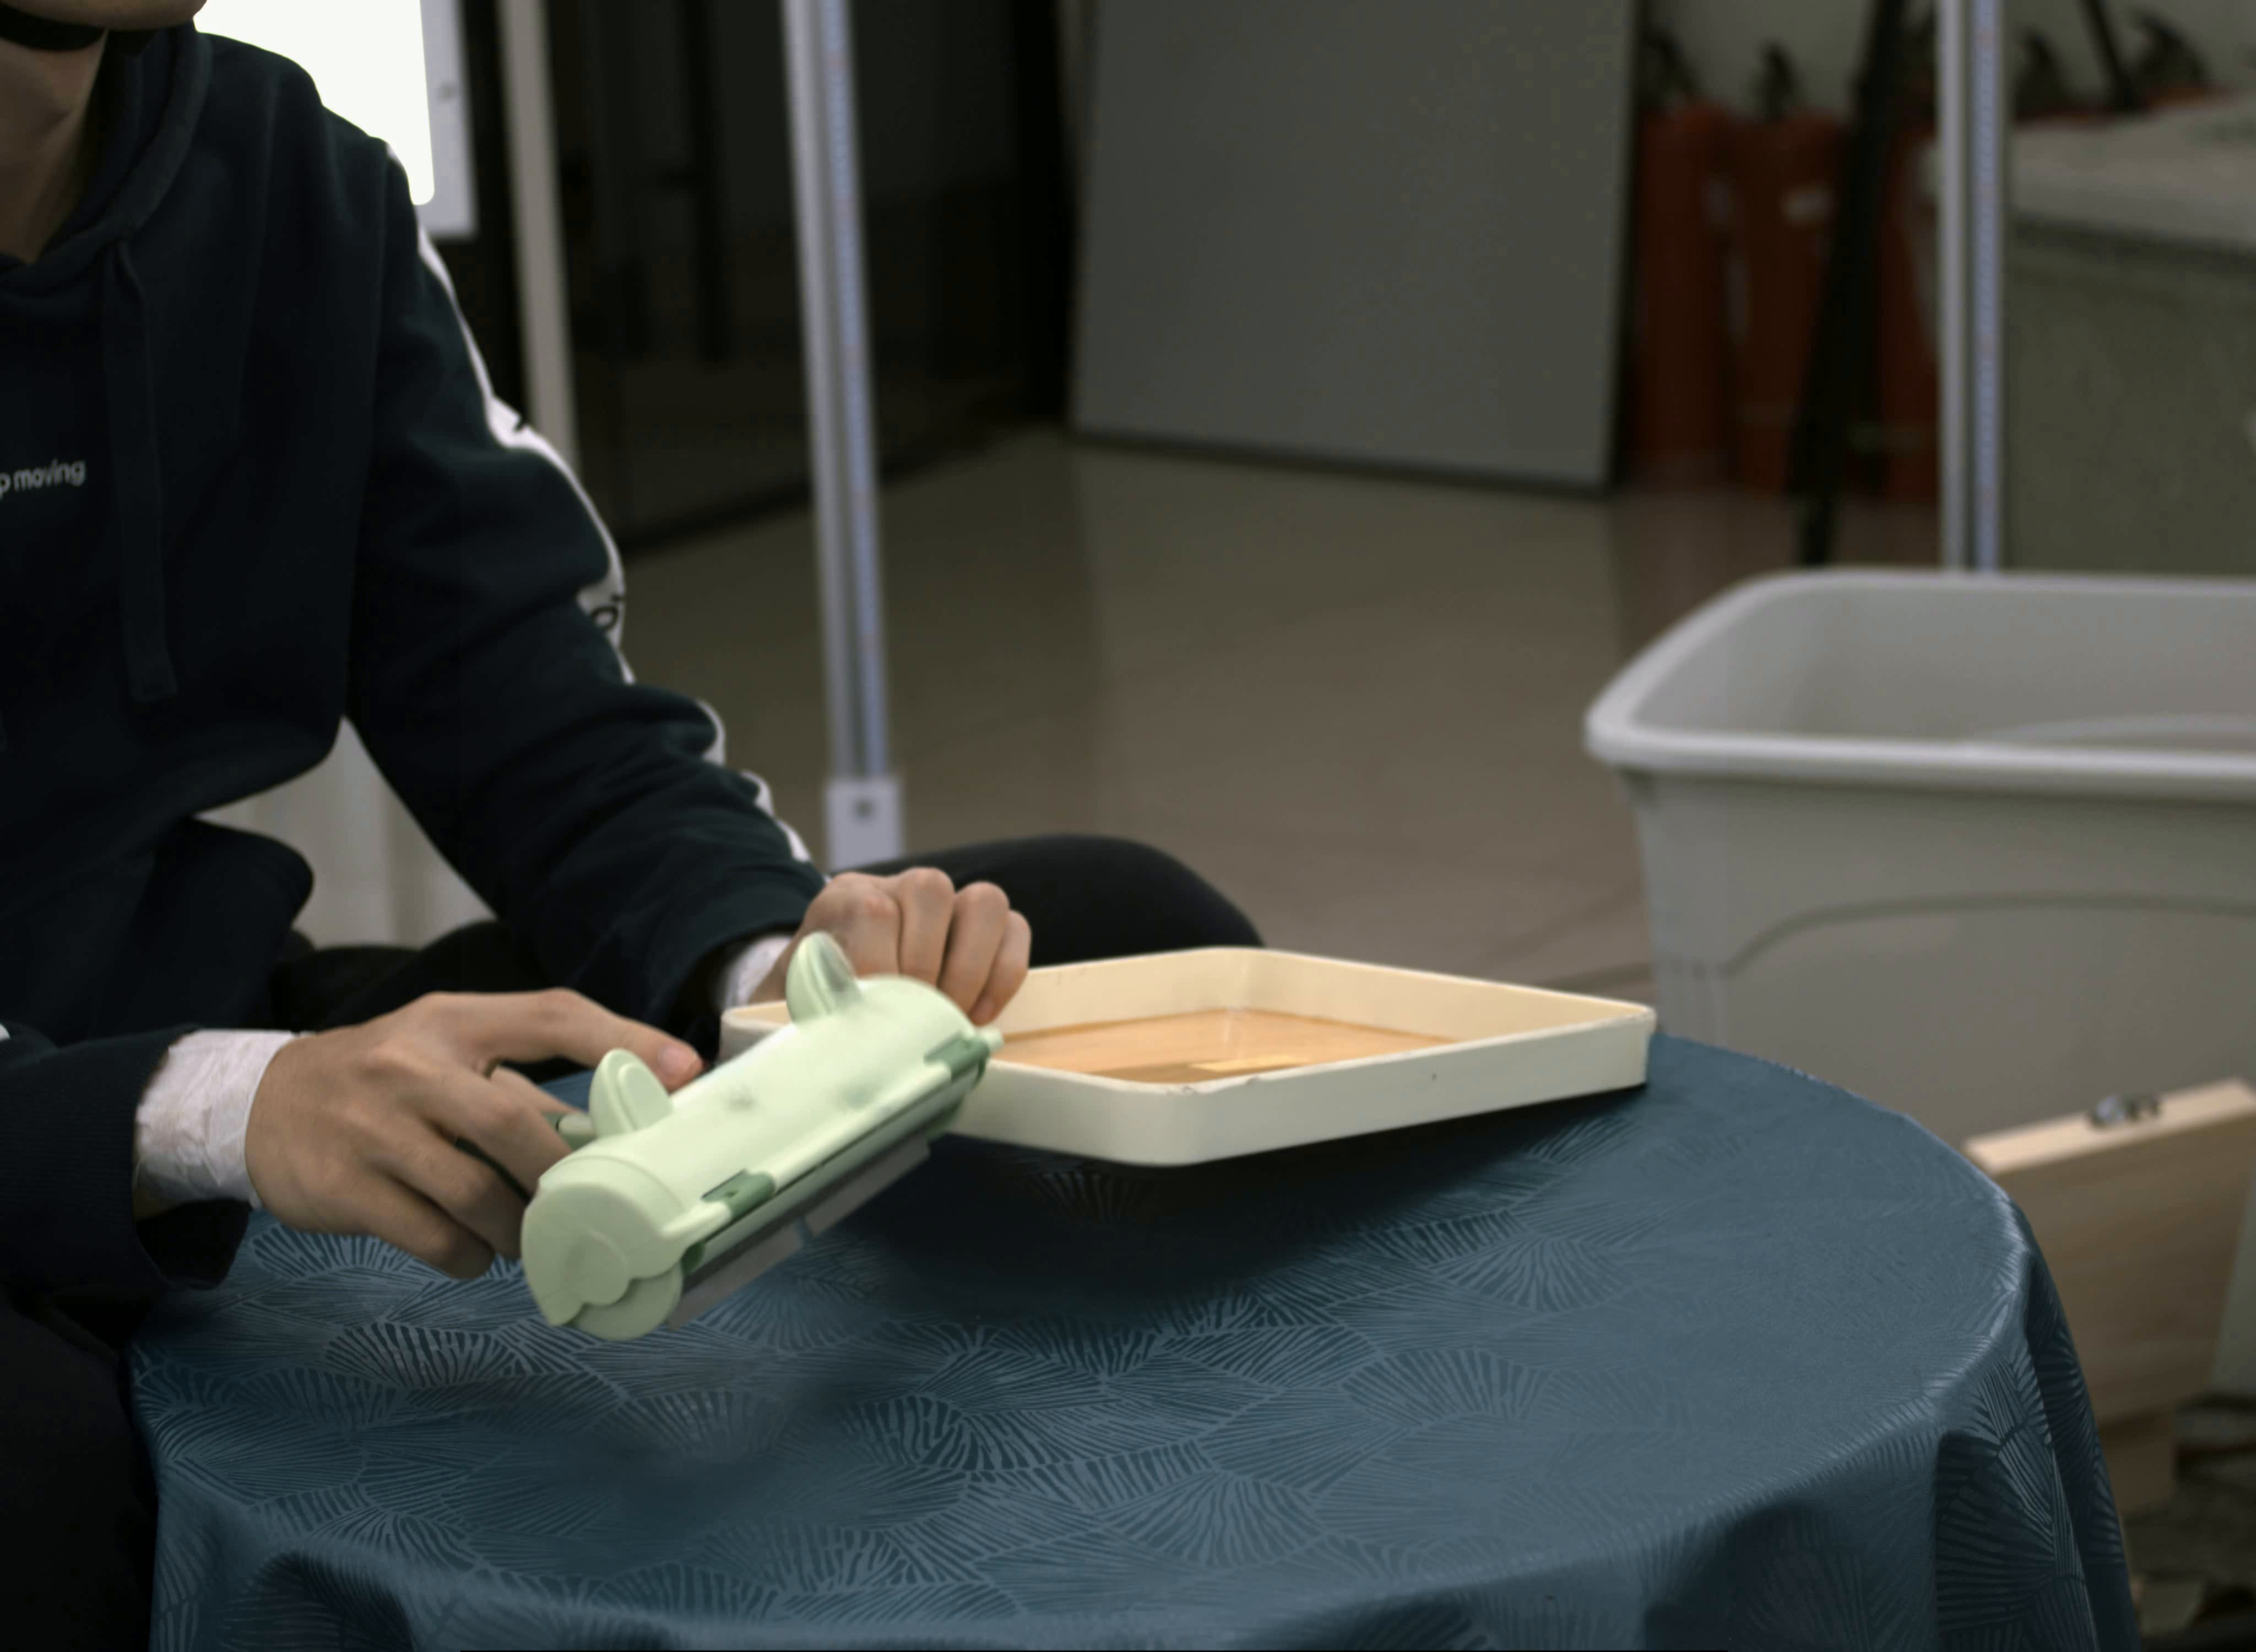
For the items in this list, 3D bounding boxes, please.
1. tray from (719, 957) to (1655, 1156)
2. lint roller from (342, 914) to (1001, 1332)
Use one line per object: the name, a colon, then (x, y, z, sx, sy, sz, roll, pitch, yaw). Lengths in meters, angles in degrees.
tray: (0.024, 0.074, 1.786, 0.193, 0.028, 0.294, 6, 6, 38)
lint roller: (-0.156, 0.080, 1.590, 0.183, 0.083, 0.196, 3, 17, 26)
